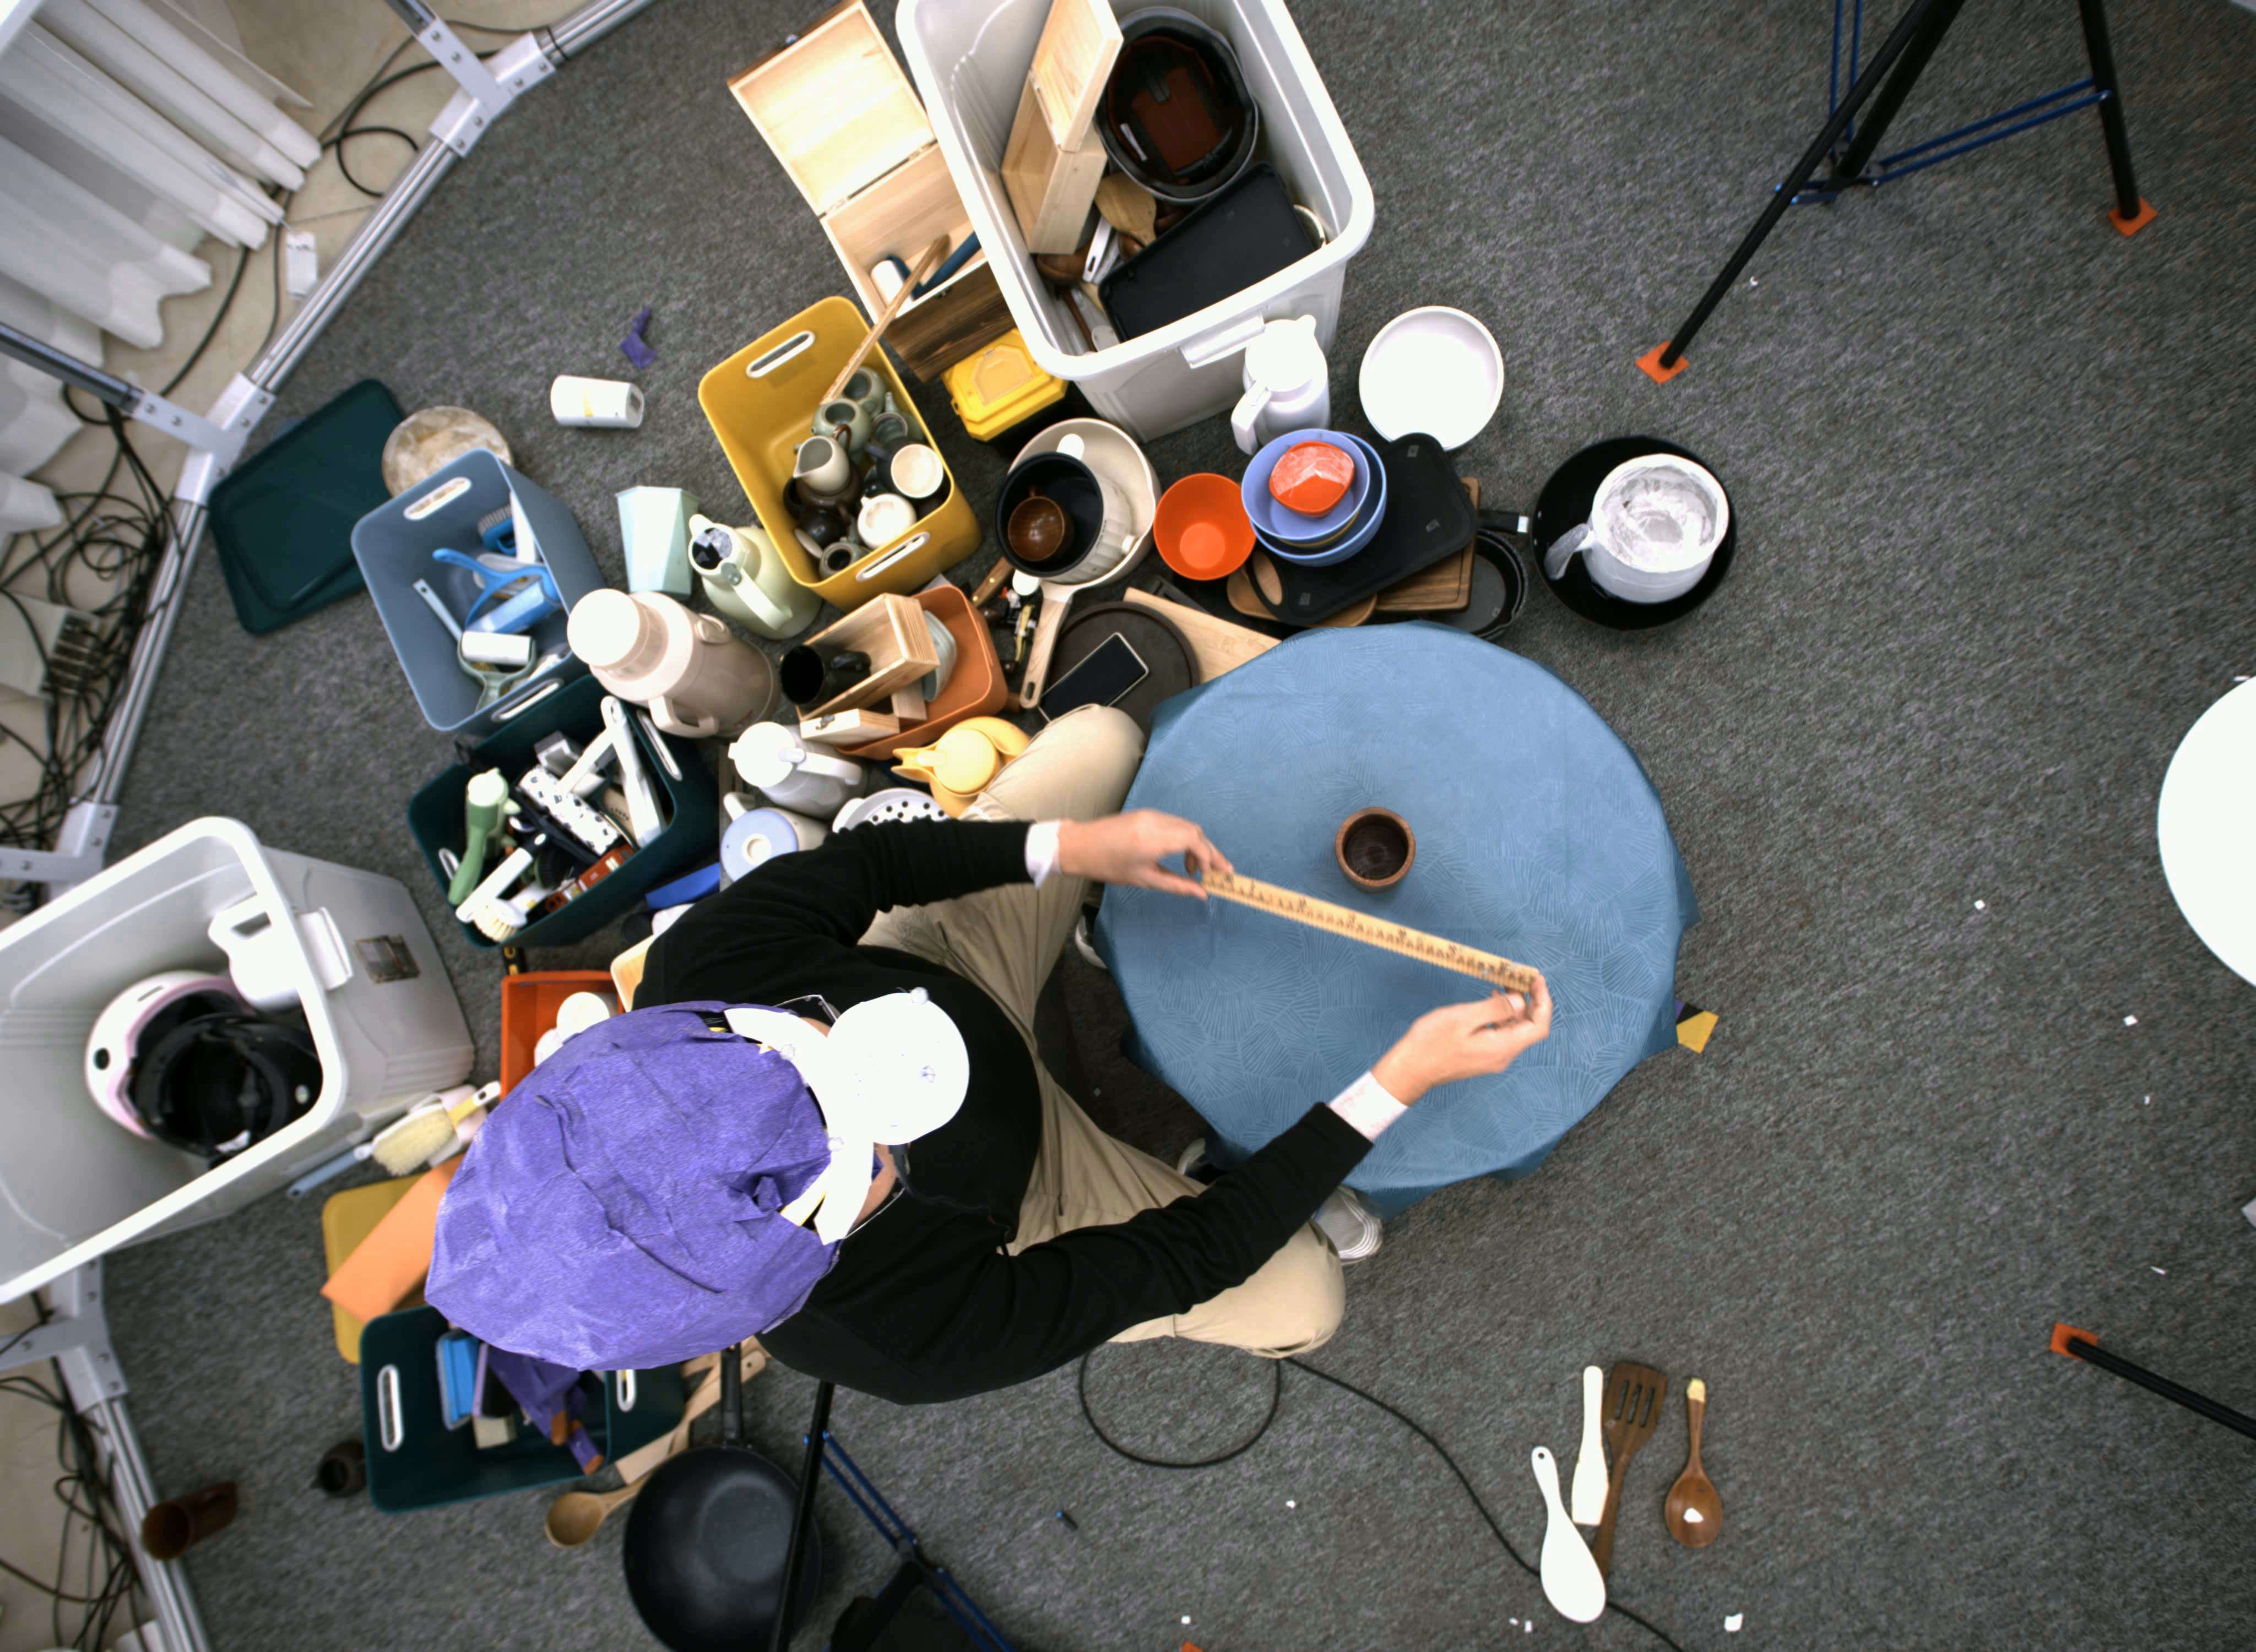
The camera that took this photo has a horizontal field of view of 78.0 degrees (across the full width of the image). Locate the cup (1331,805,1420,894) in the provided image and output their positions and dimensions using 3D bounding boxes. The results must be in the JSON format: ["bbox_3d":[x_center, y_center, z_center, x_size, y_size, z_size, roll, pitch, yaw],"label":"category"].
[{"bbox_3d":[0.254,0.025,1.407,0.088,0.118,0.087,-1,84,11],"label":"cup"}]

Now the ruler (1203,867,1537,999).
[{"bbox_3d":[0.232,0.102,1.340,0.332,0.022,0.027,18,92,10],"label":"ruler"}]
